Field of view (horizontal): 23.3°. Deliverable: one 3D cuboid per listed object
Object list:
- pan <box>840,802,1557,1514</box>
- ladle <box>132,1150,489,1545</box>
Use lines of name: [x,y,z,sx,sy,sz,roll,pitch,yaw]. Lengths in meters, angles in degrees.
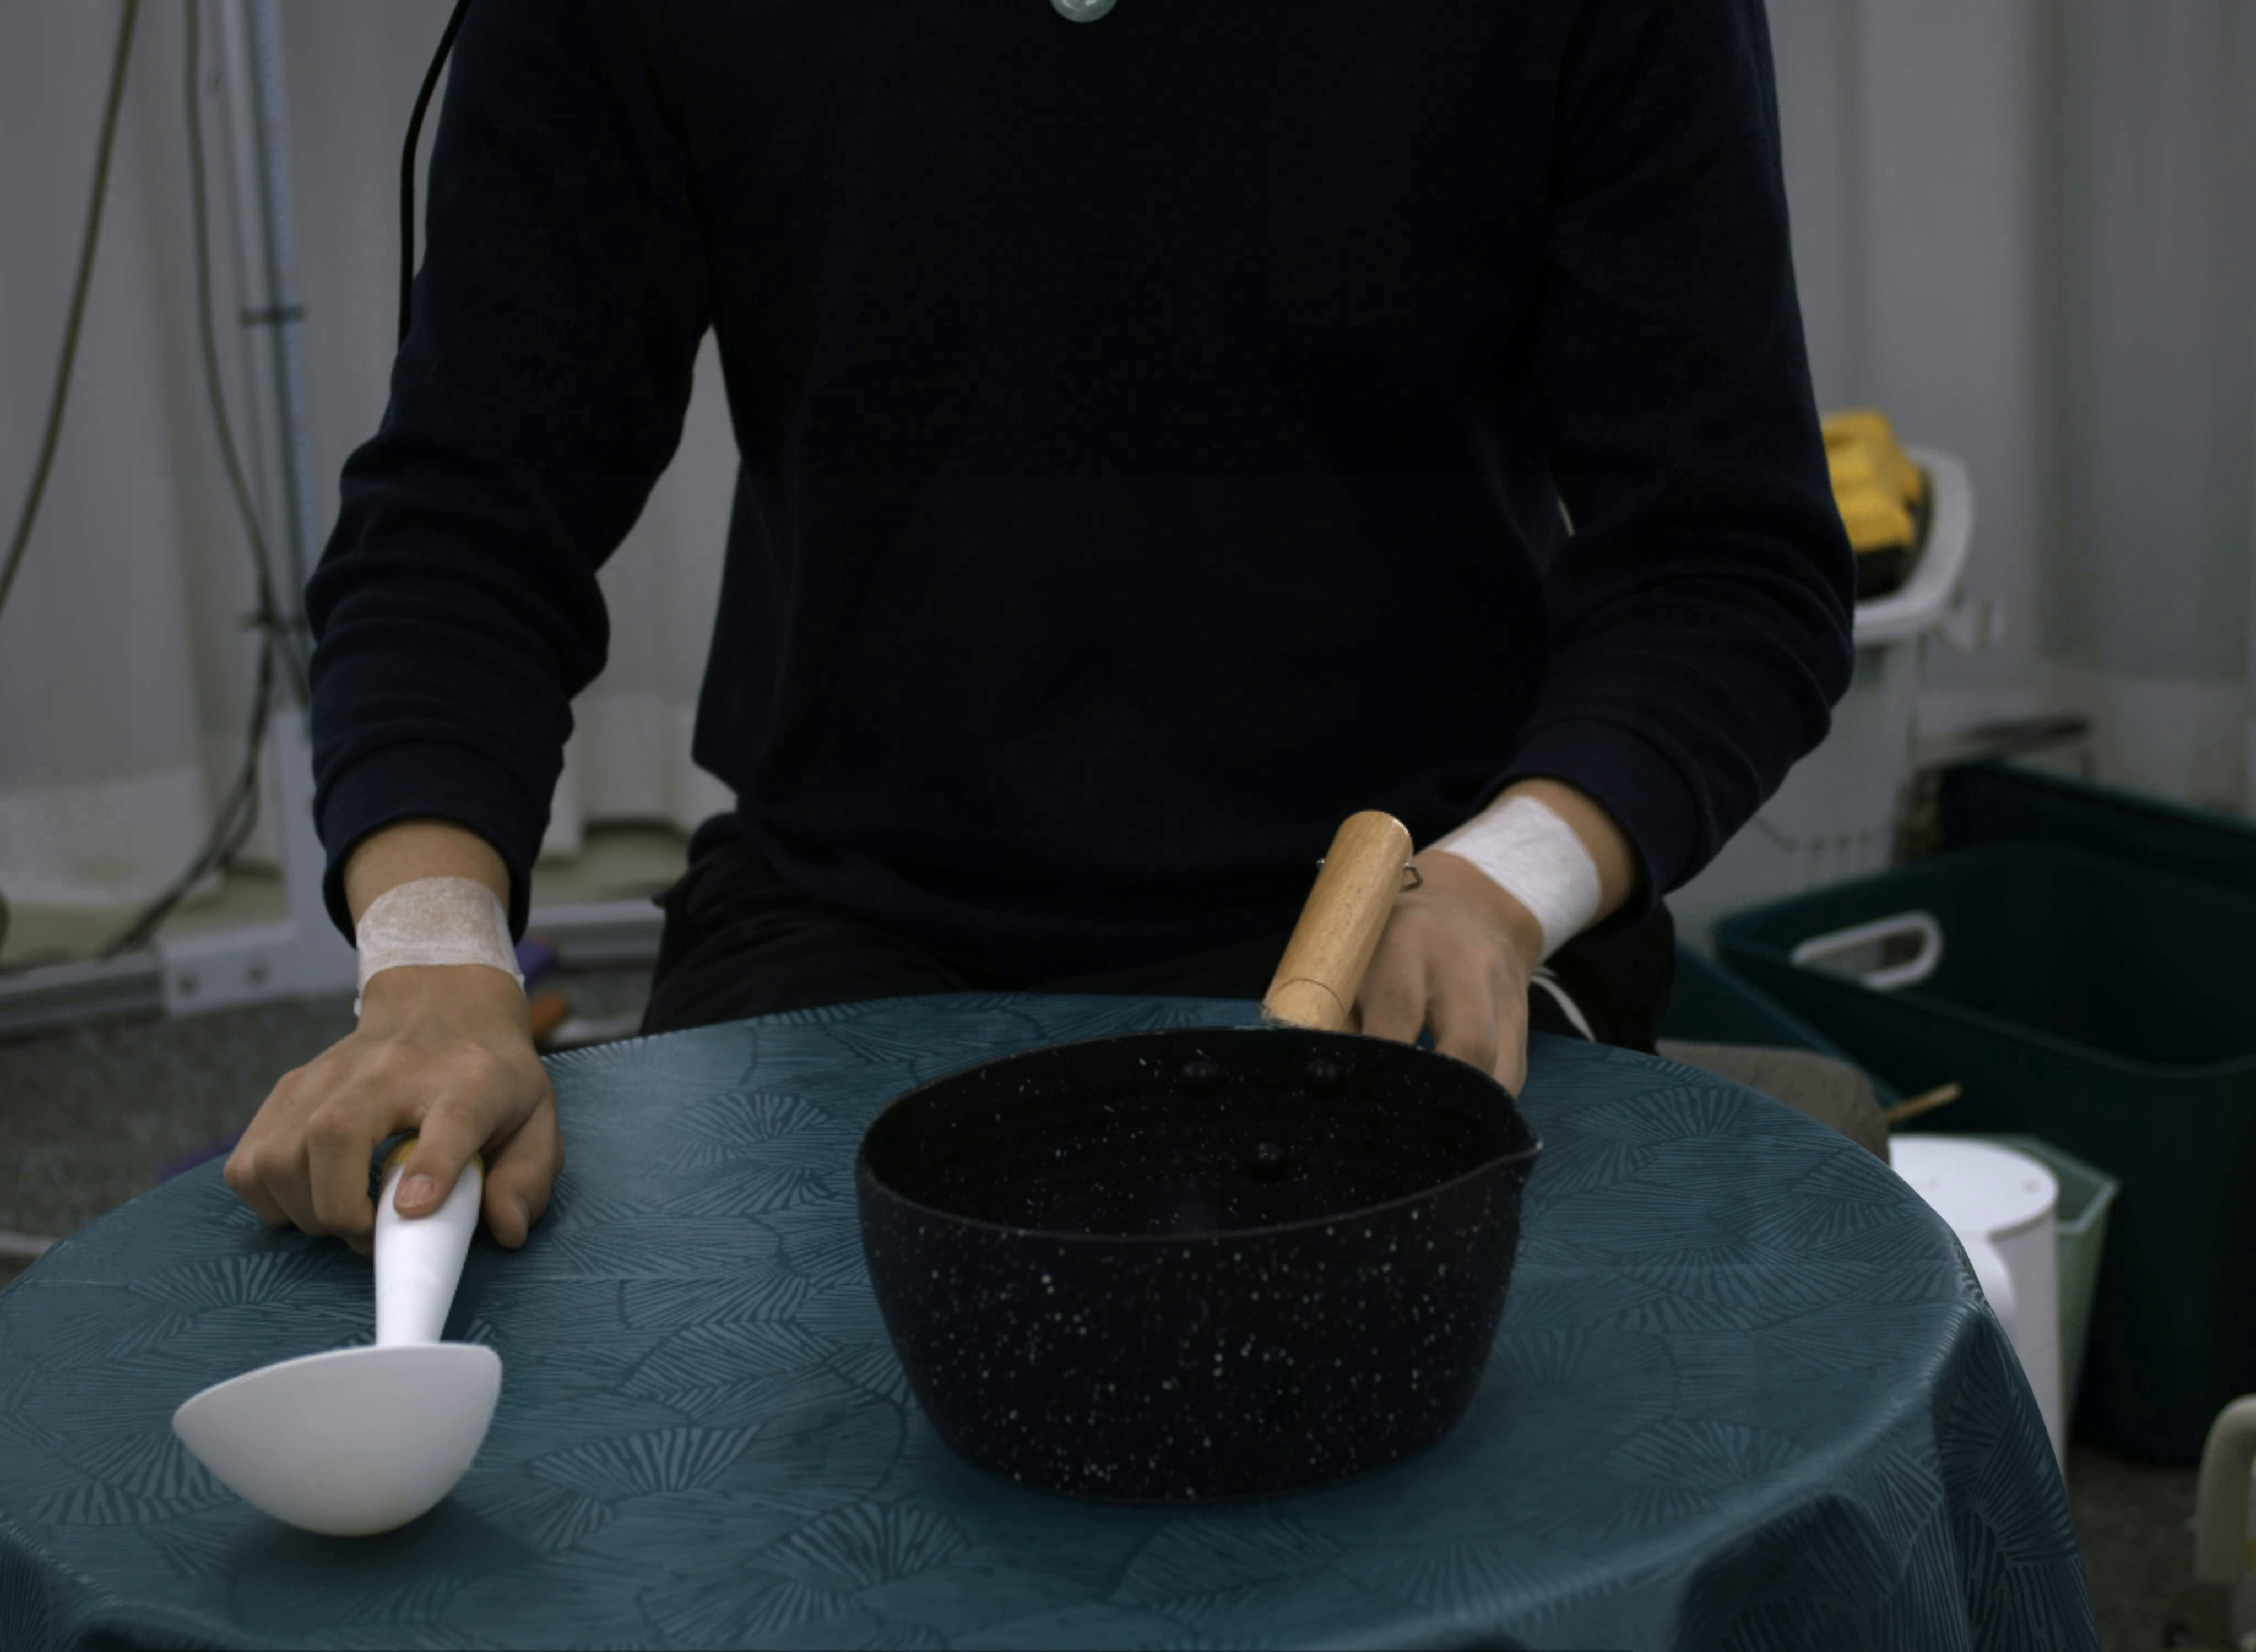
pan: [0.037,0.091,1.590,0.207,0.108,0.344,0,16,14]
ladle: [-0.219,0.135,1.569,0.090,0.069,0.295,-19,14,4]
